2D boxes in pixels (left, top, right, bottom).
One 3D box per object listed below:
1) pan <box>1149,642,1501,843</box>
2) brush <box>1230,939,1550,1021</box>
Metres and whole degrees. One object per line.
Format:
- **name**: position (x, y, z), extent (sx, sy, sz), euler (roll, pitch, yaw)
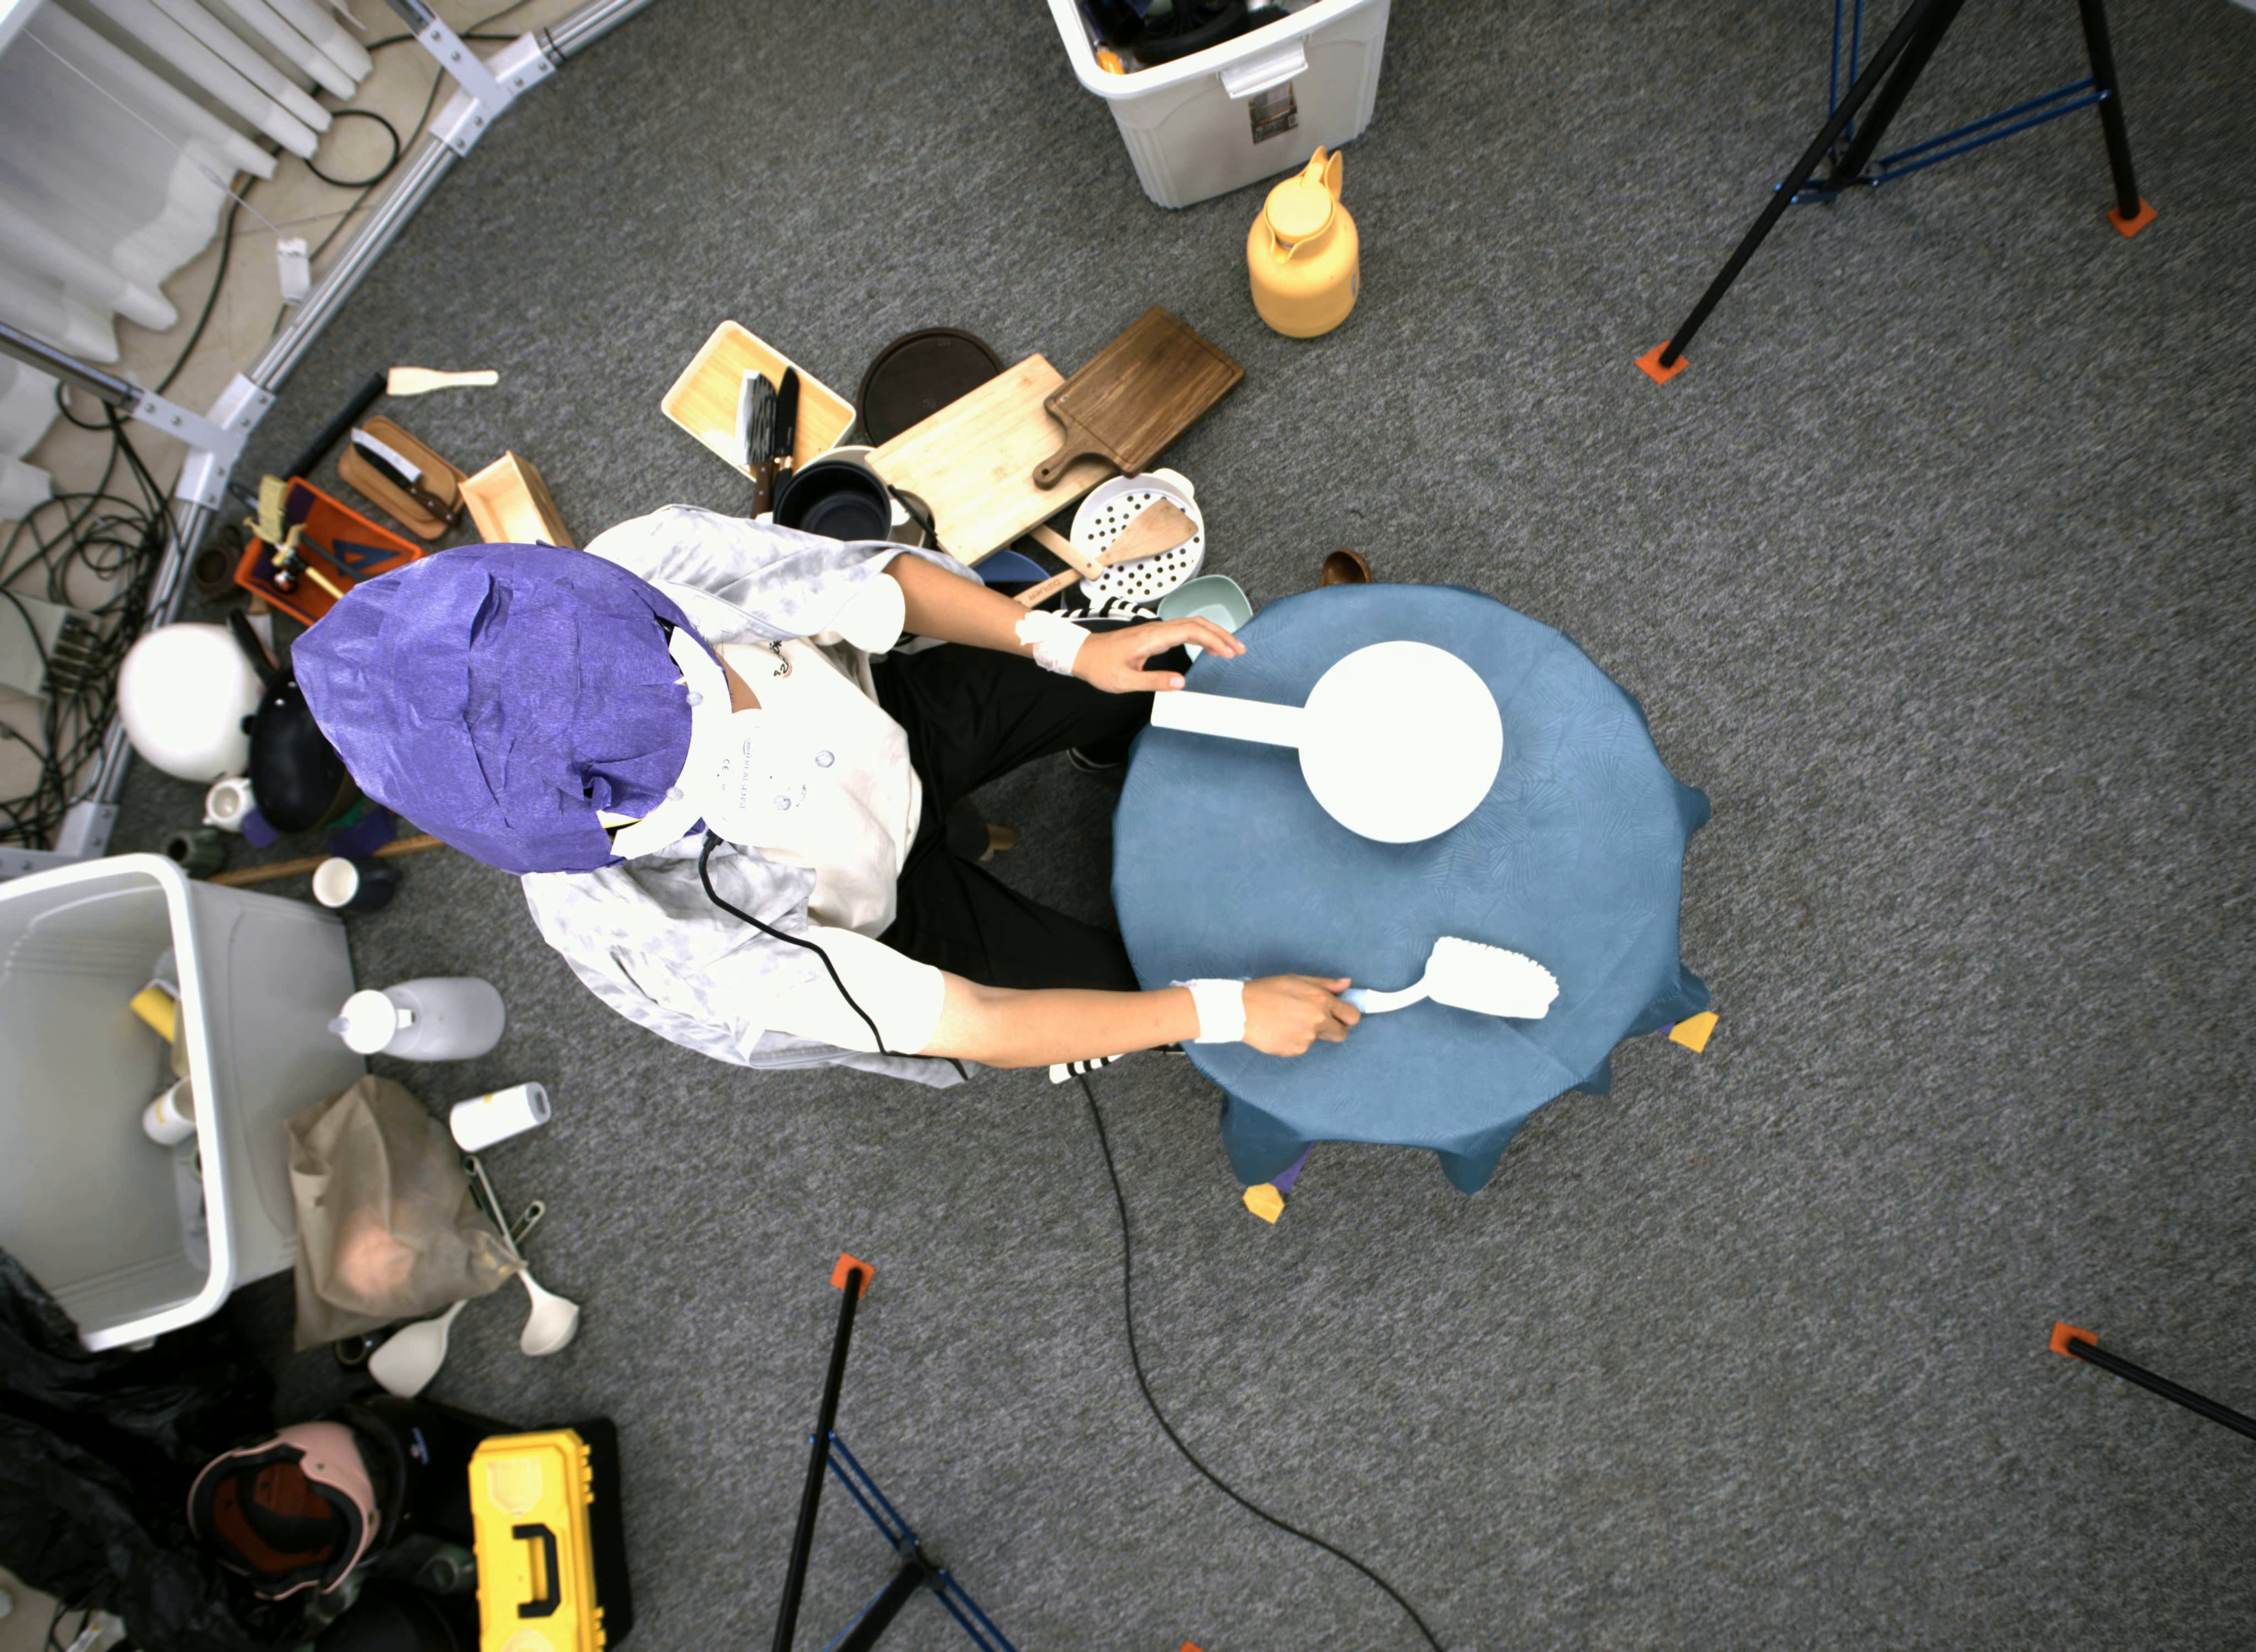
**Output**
- **pan**: position (0.203, -0.094, 1.429), extent (0.355, 0.102, 0.201), euler (9, 88, 12)
- **brush**: position (0.266, 0.151, 1.415), extent (0.326, 0.083, 0.084), euler (3, 86, 11)
